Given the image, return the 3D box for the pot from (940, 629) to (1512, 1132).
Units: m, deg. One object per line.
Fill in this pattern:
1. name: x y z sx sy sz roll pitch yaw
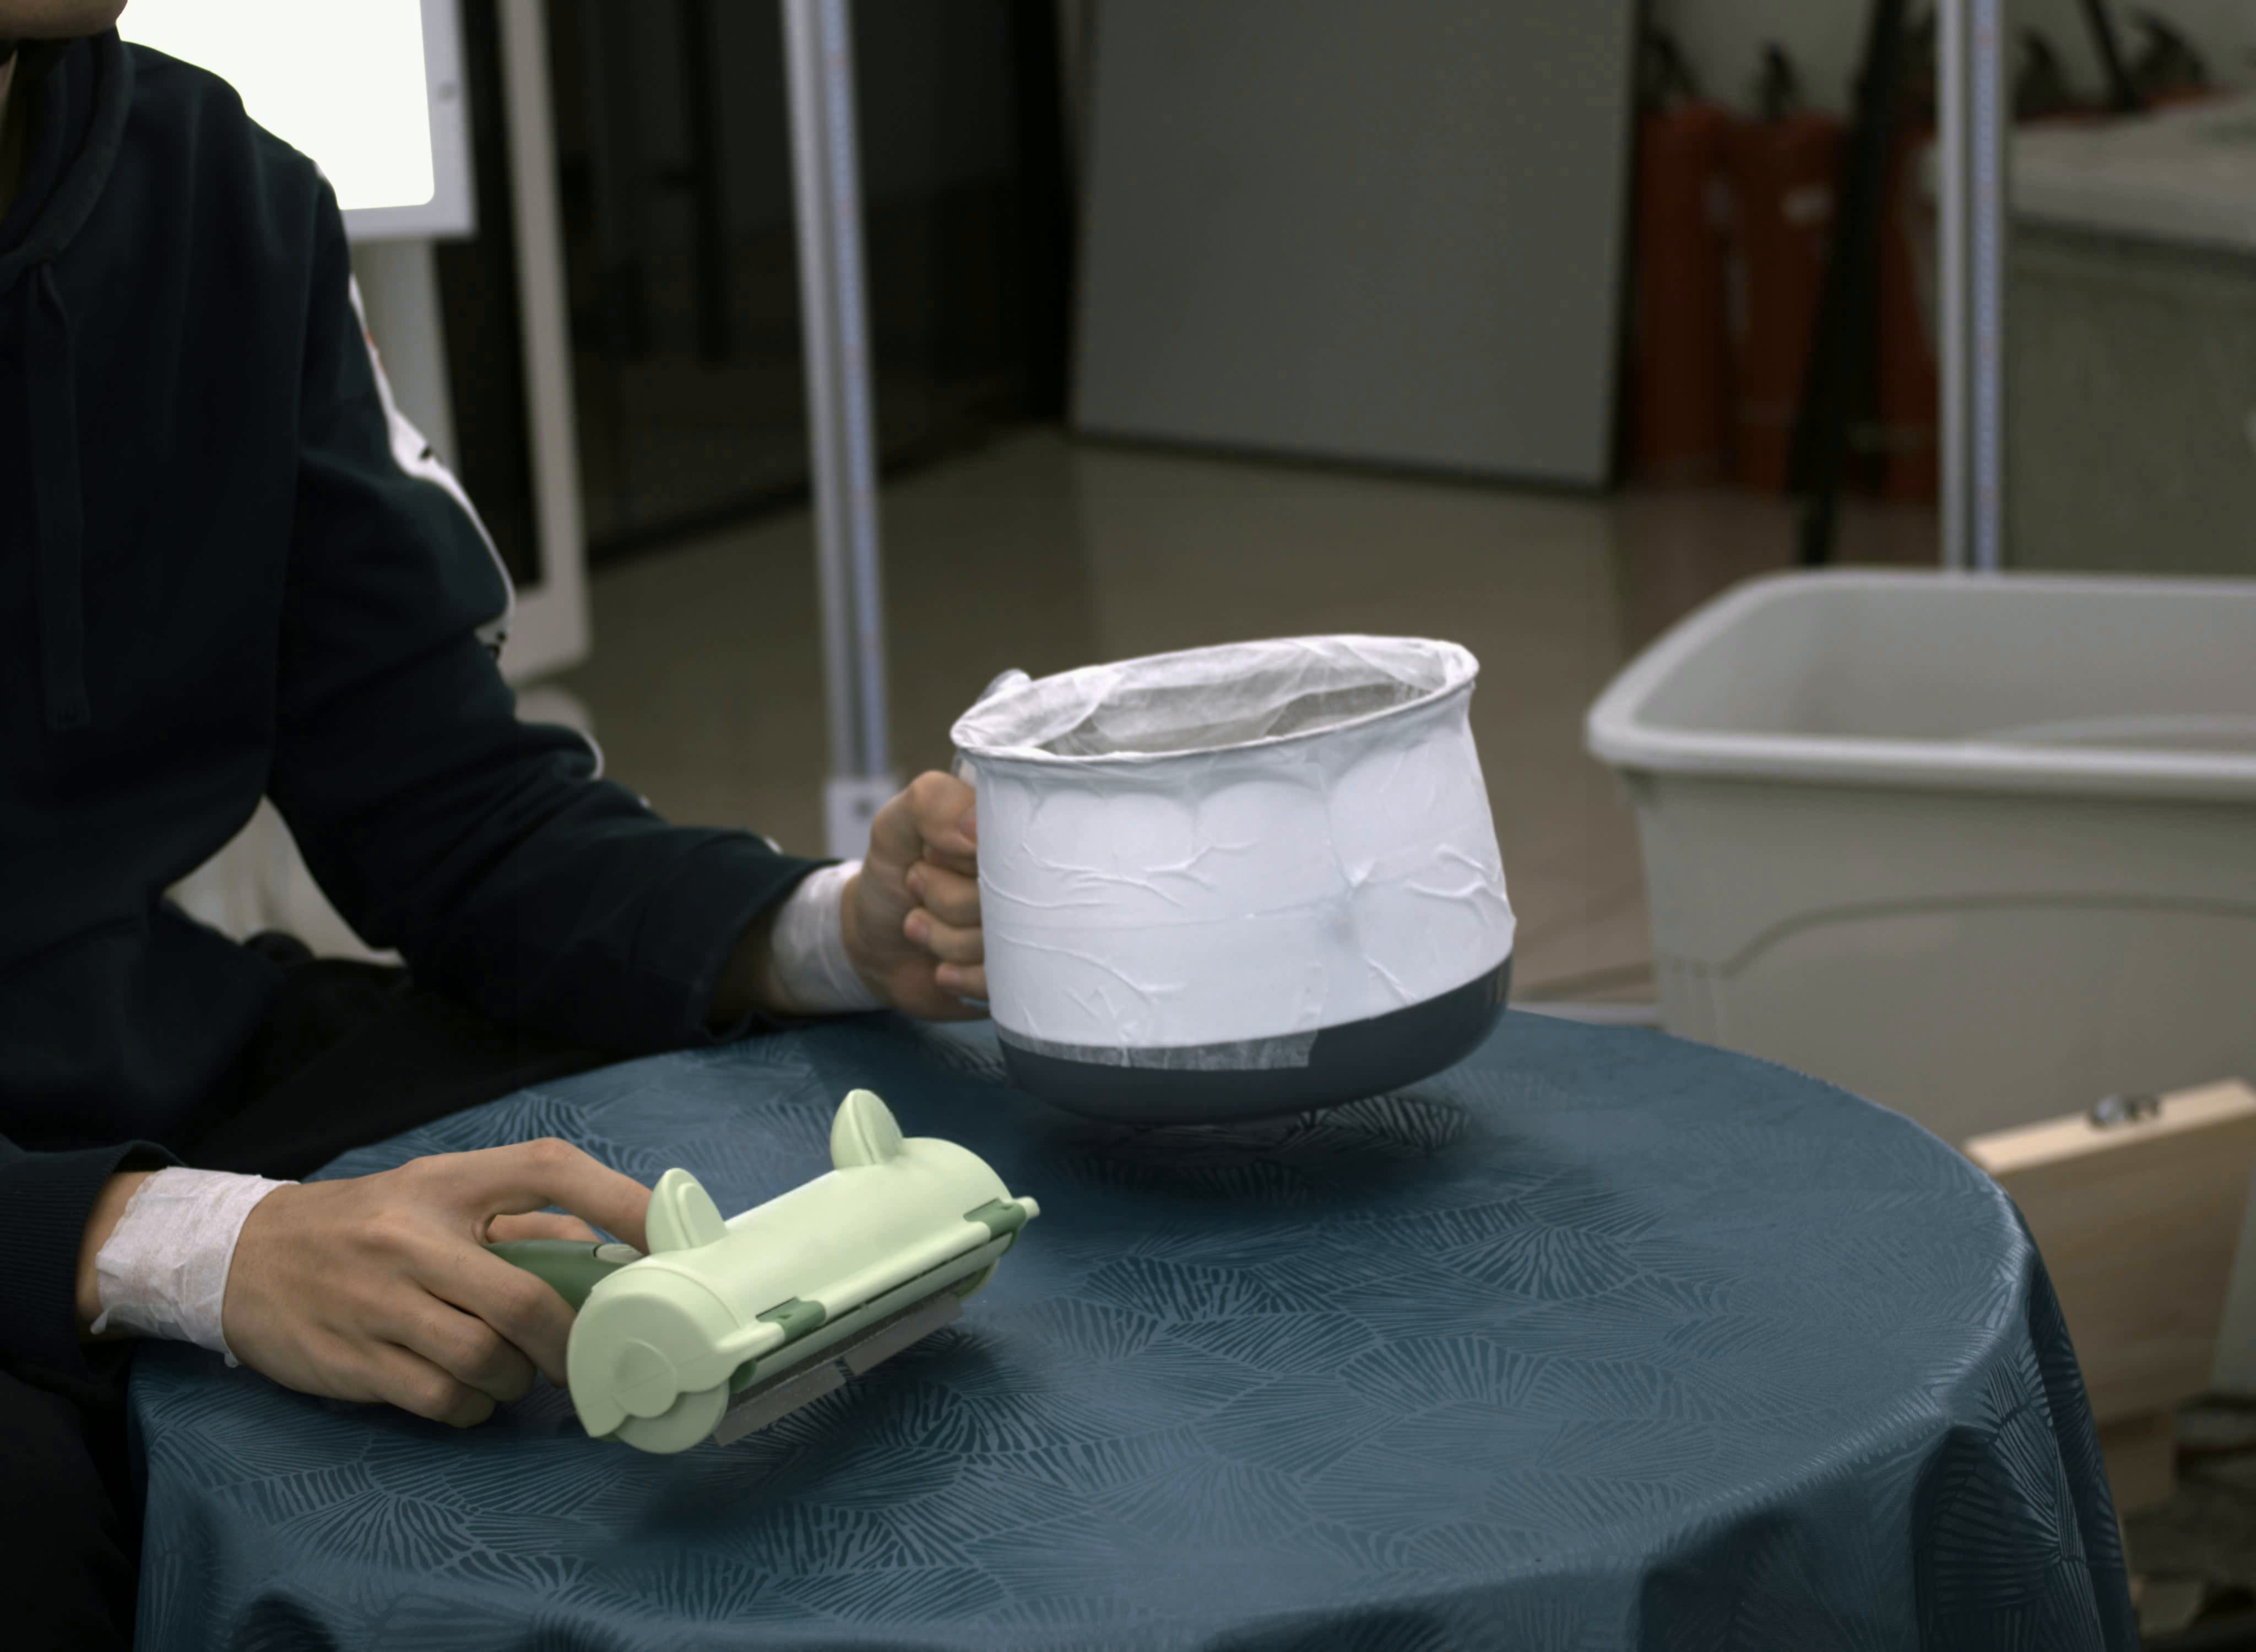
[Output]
1. pot: 0.017 0.015 1.807 0.175 0.138 0.236 -18 14 -41

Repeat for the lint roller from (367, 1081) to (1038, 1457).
1. lint roller: -0.145 0.122 1.590 0.183 0.083 0.196 6 11 24
